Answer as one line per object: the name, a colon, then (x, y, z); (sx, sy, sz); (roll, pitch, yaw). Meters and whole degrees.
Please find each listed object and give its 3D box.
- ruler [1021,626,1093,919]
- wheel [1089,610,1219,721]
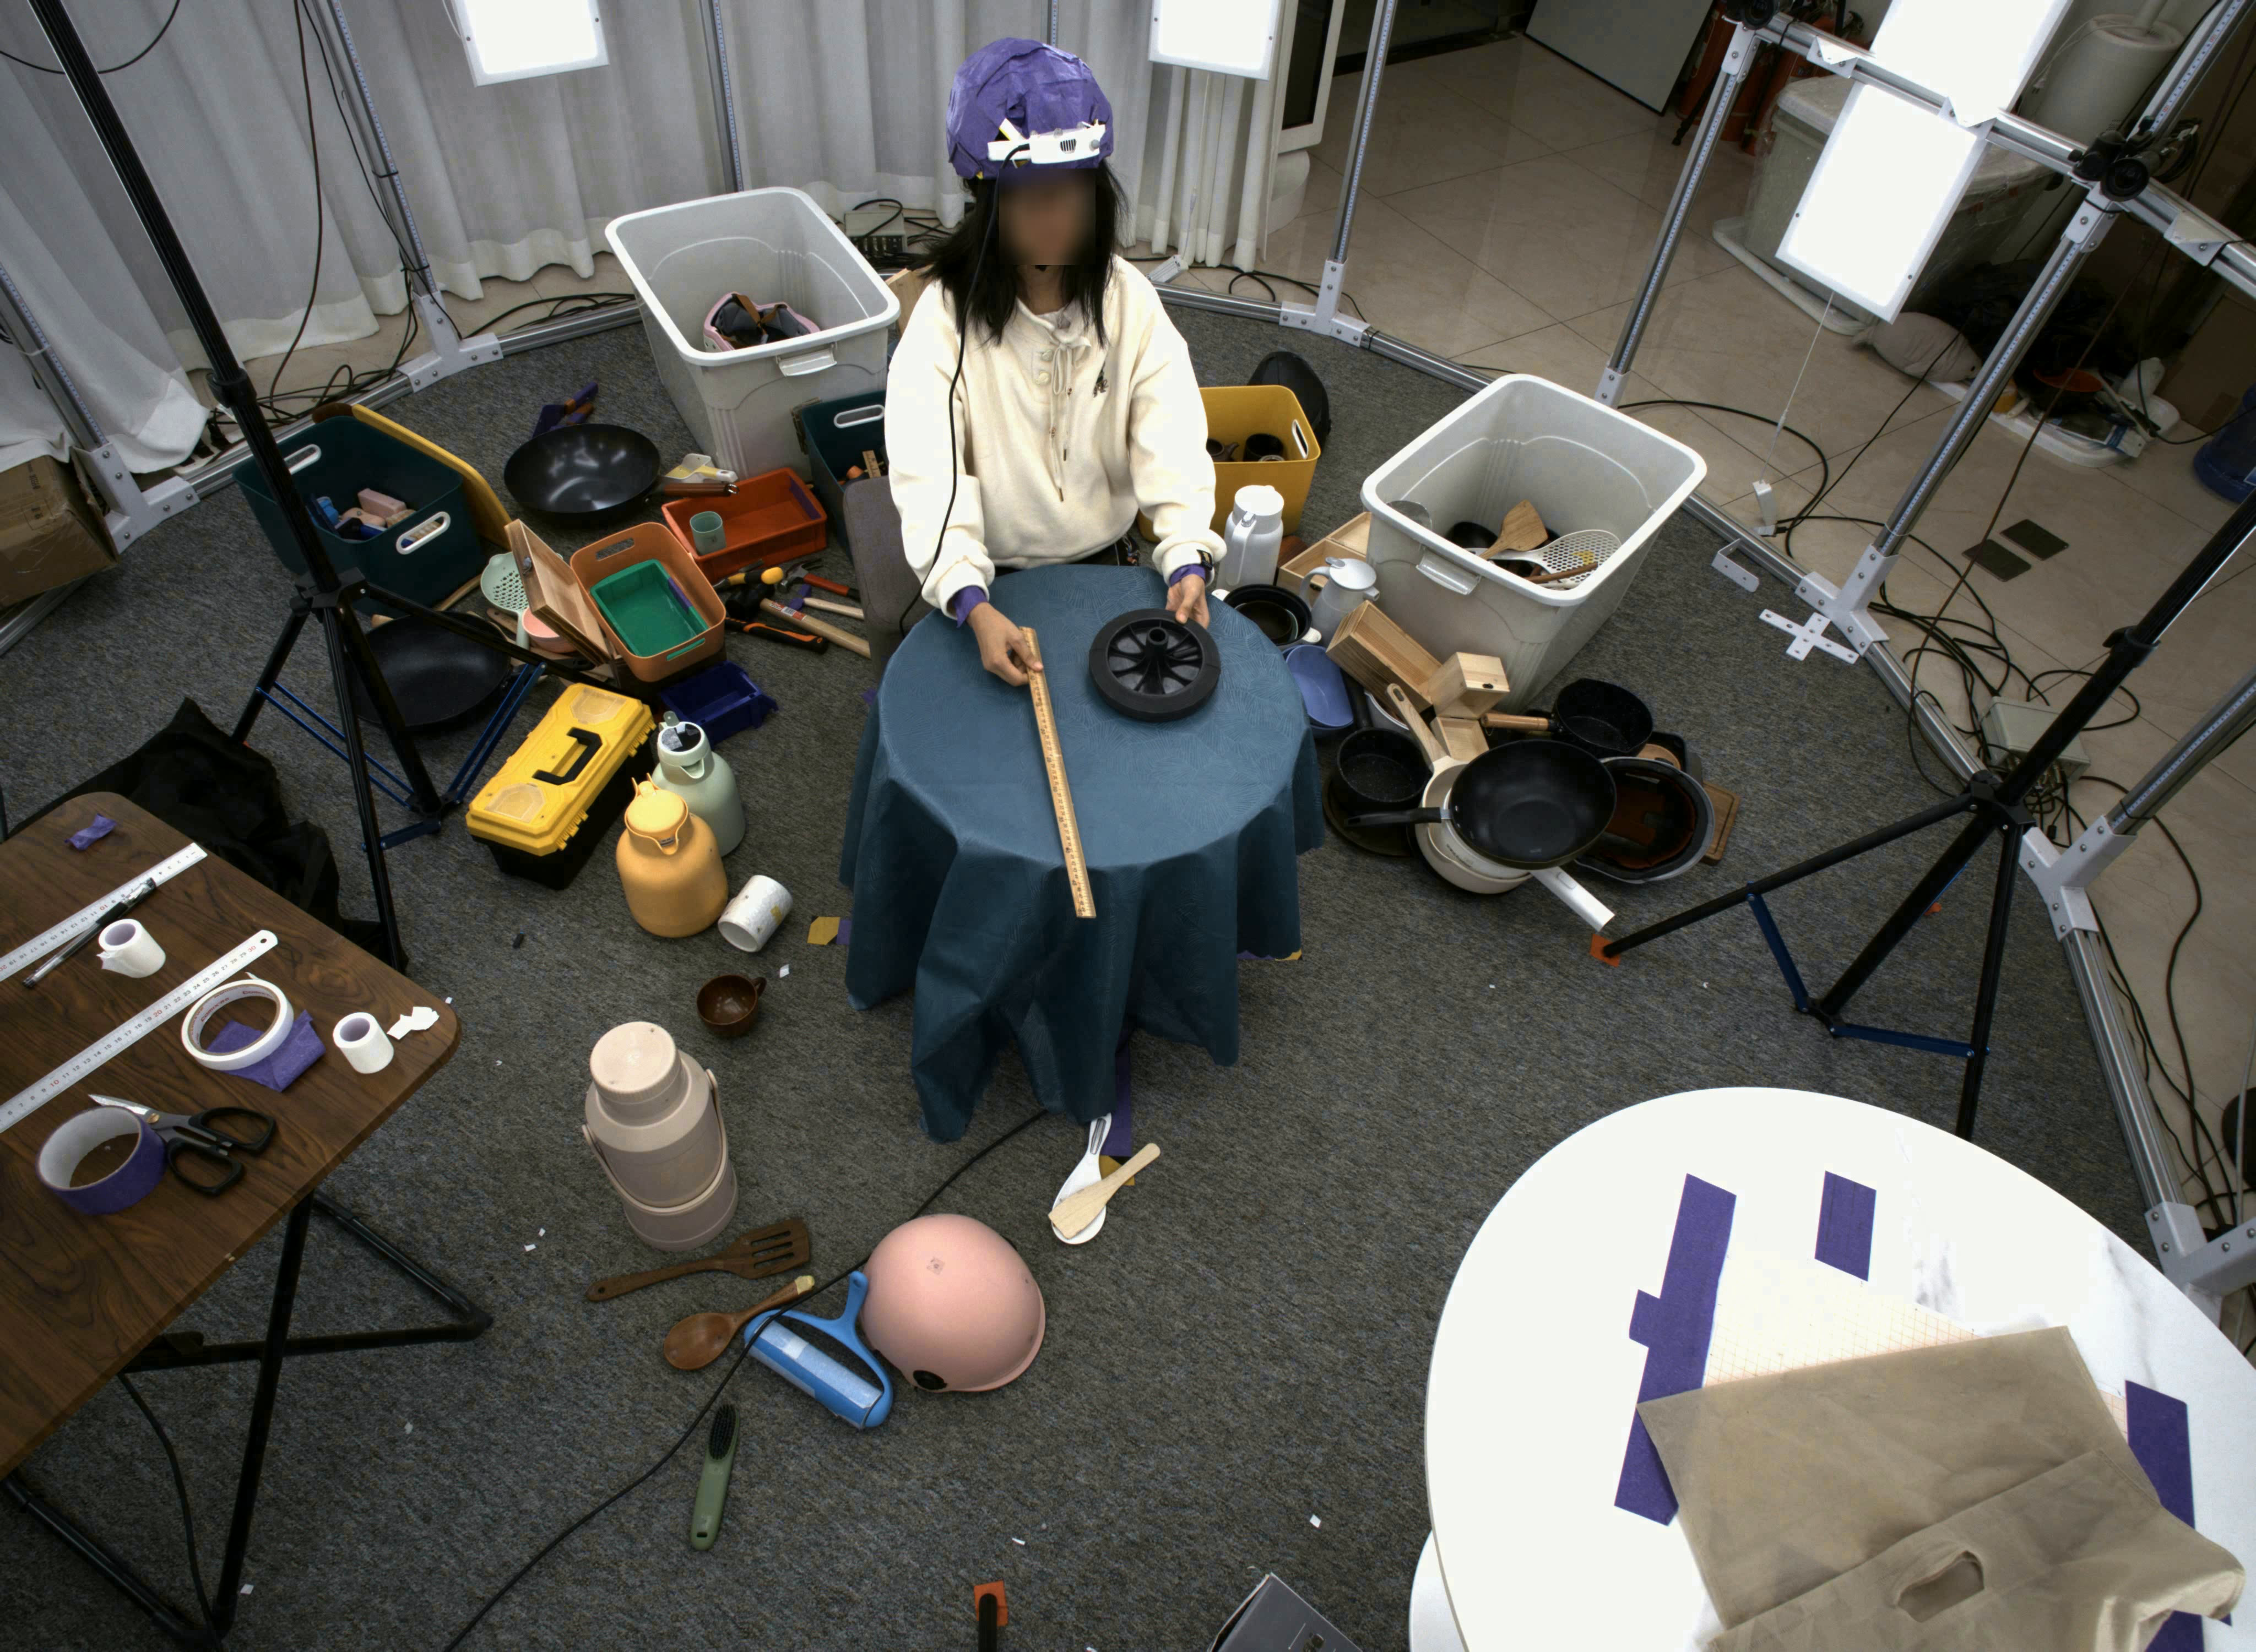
ruler: (-0.100, -0.088, 1.719); (0.026, 0.006, 0.513); (4, 51, -21)
wheel: (0.040, -0.243, 1.822); (0.190, 0.077, 0.191); (41, 64, 20)
